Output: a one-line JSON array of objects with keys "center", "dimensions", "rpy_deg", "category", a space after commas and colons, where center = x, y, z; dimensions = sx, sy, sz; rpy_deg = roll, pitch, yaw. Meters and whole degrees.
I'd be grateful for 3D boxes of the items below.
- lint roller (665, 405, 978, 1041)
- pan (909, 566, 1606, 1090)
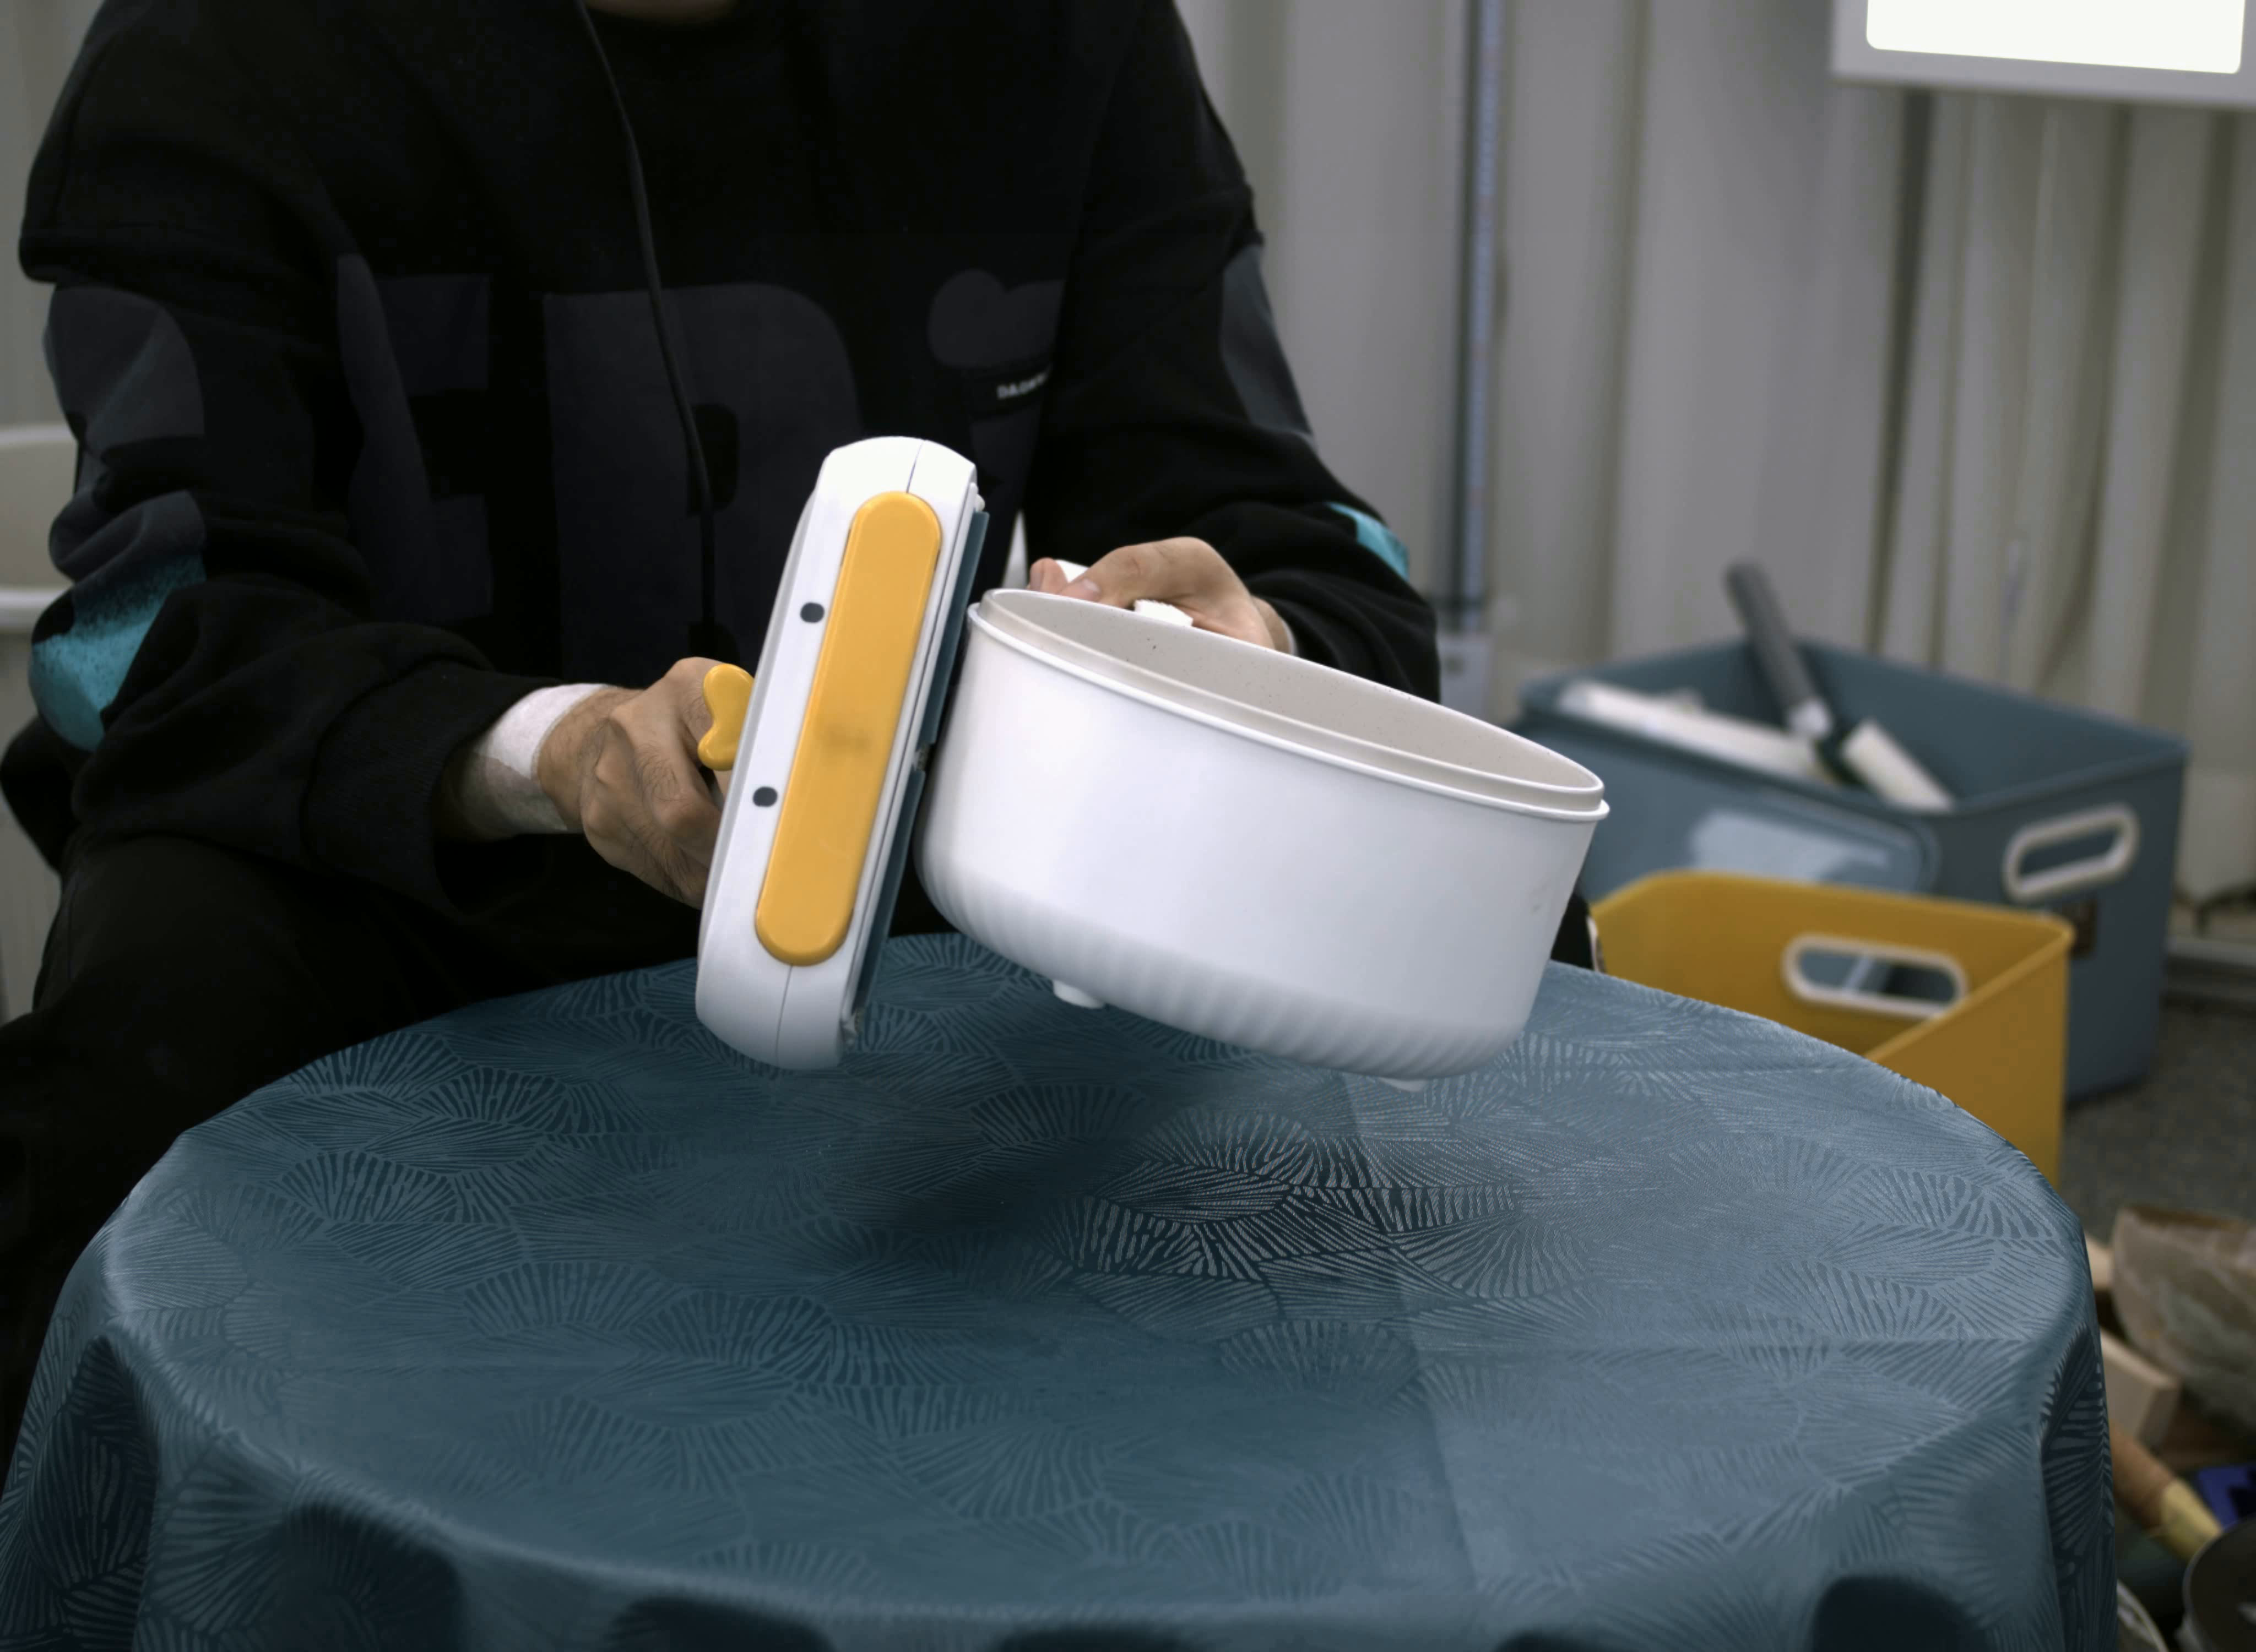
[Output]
[{"center": [-0.103, -0.018, 1.613], "dimensions": [0.074, 0.192, 0.192], "rpy_deg": [10, -15, -9], "category": "lint roller"}, {"center": [0.016, -0.009, 1.648], "dimensions": [0.202, 0.102, 0.352], "rpy_deg": [15, 7, -17], "category": "pan"}]
